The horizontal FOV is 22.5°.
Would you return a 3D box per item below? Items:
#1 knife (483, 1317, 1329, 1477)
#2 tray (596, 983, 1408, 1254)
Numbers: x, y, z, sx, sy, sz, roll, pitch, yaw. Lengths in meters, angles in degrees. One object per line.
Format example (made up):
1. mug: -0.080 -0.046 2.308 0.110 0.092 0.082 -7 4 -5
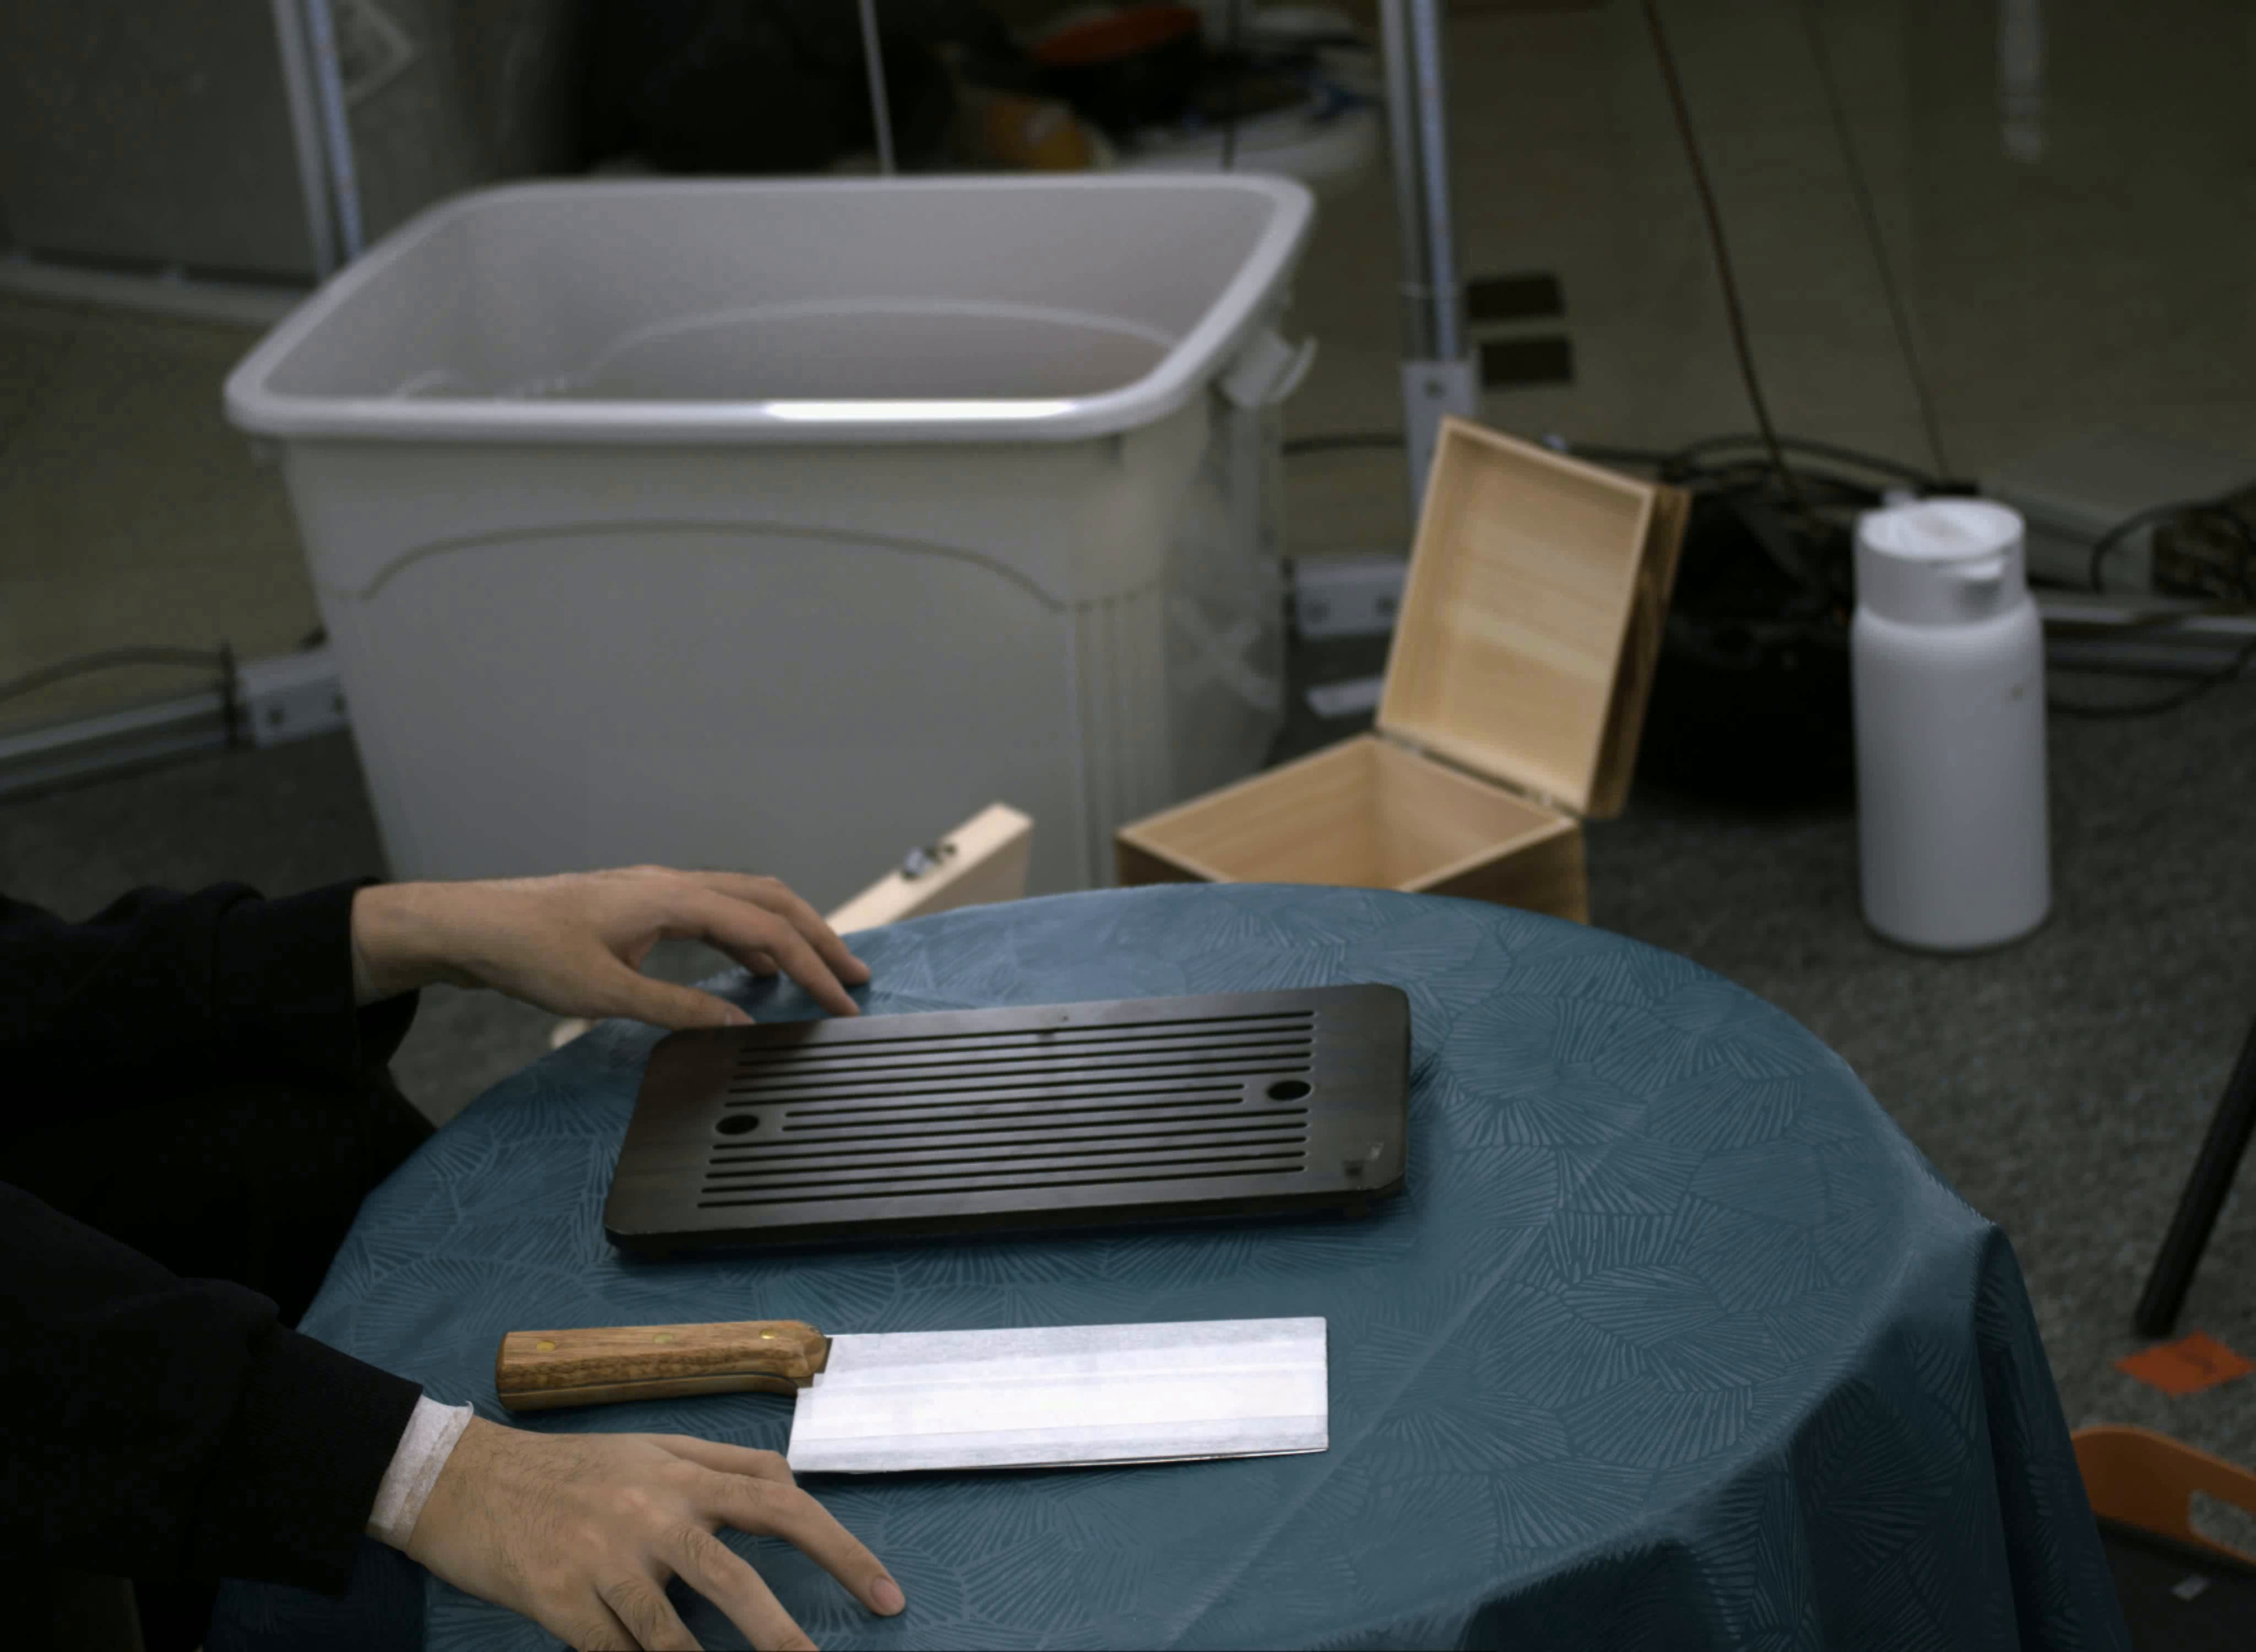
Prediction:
1. knife: -0.081 0.203 2.013 0.305 0.021 0.091 -3 27 3
2. tray: -0.045 0.114 2.190 0.305 0.019 0.167 -4 25 6
